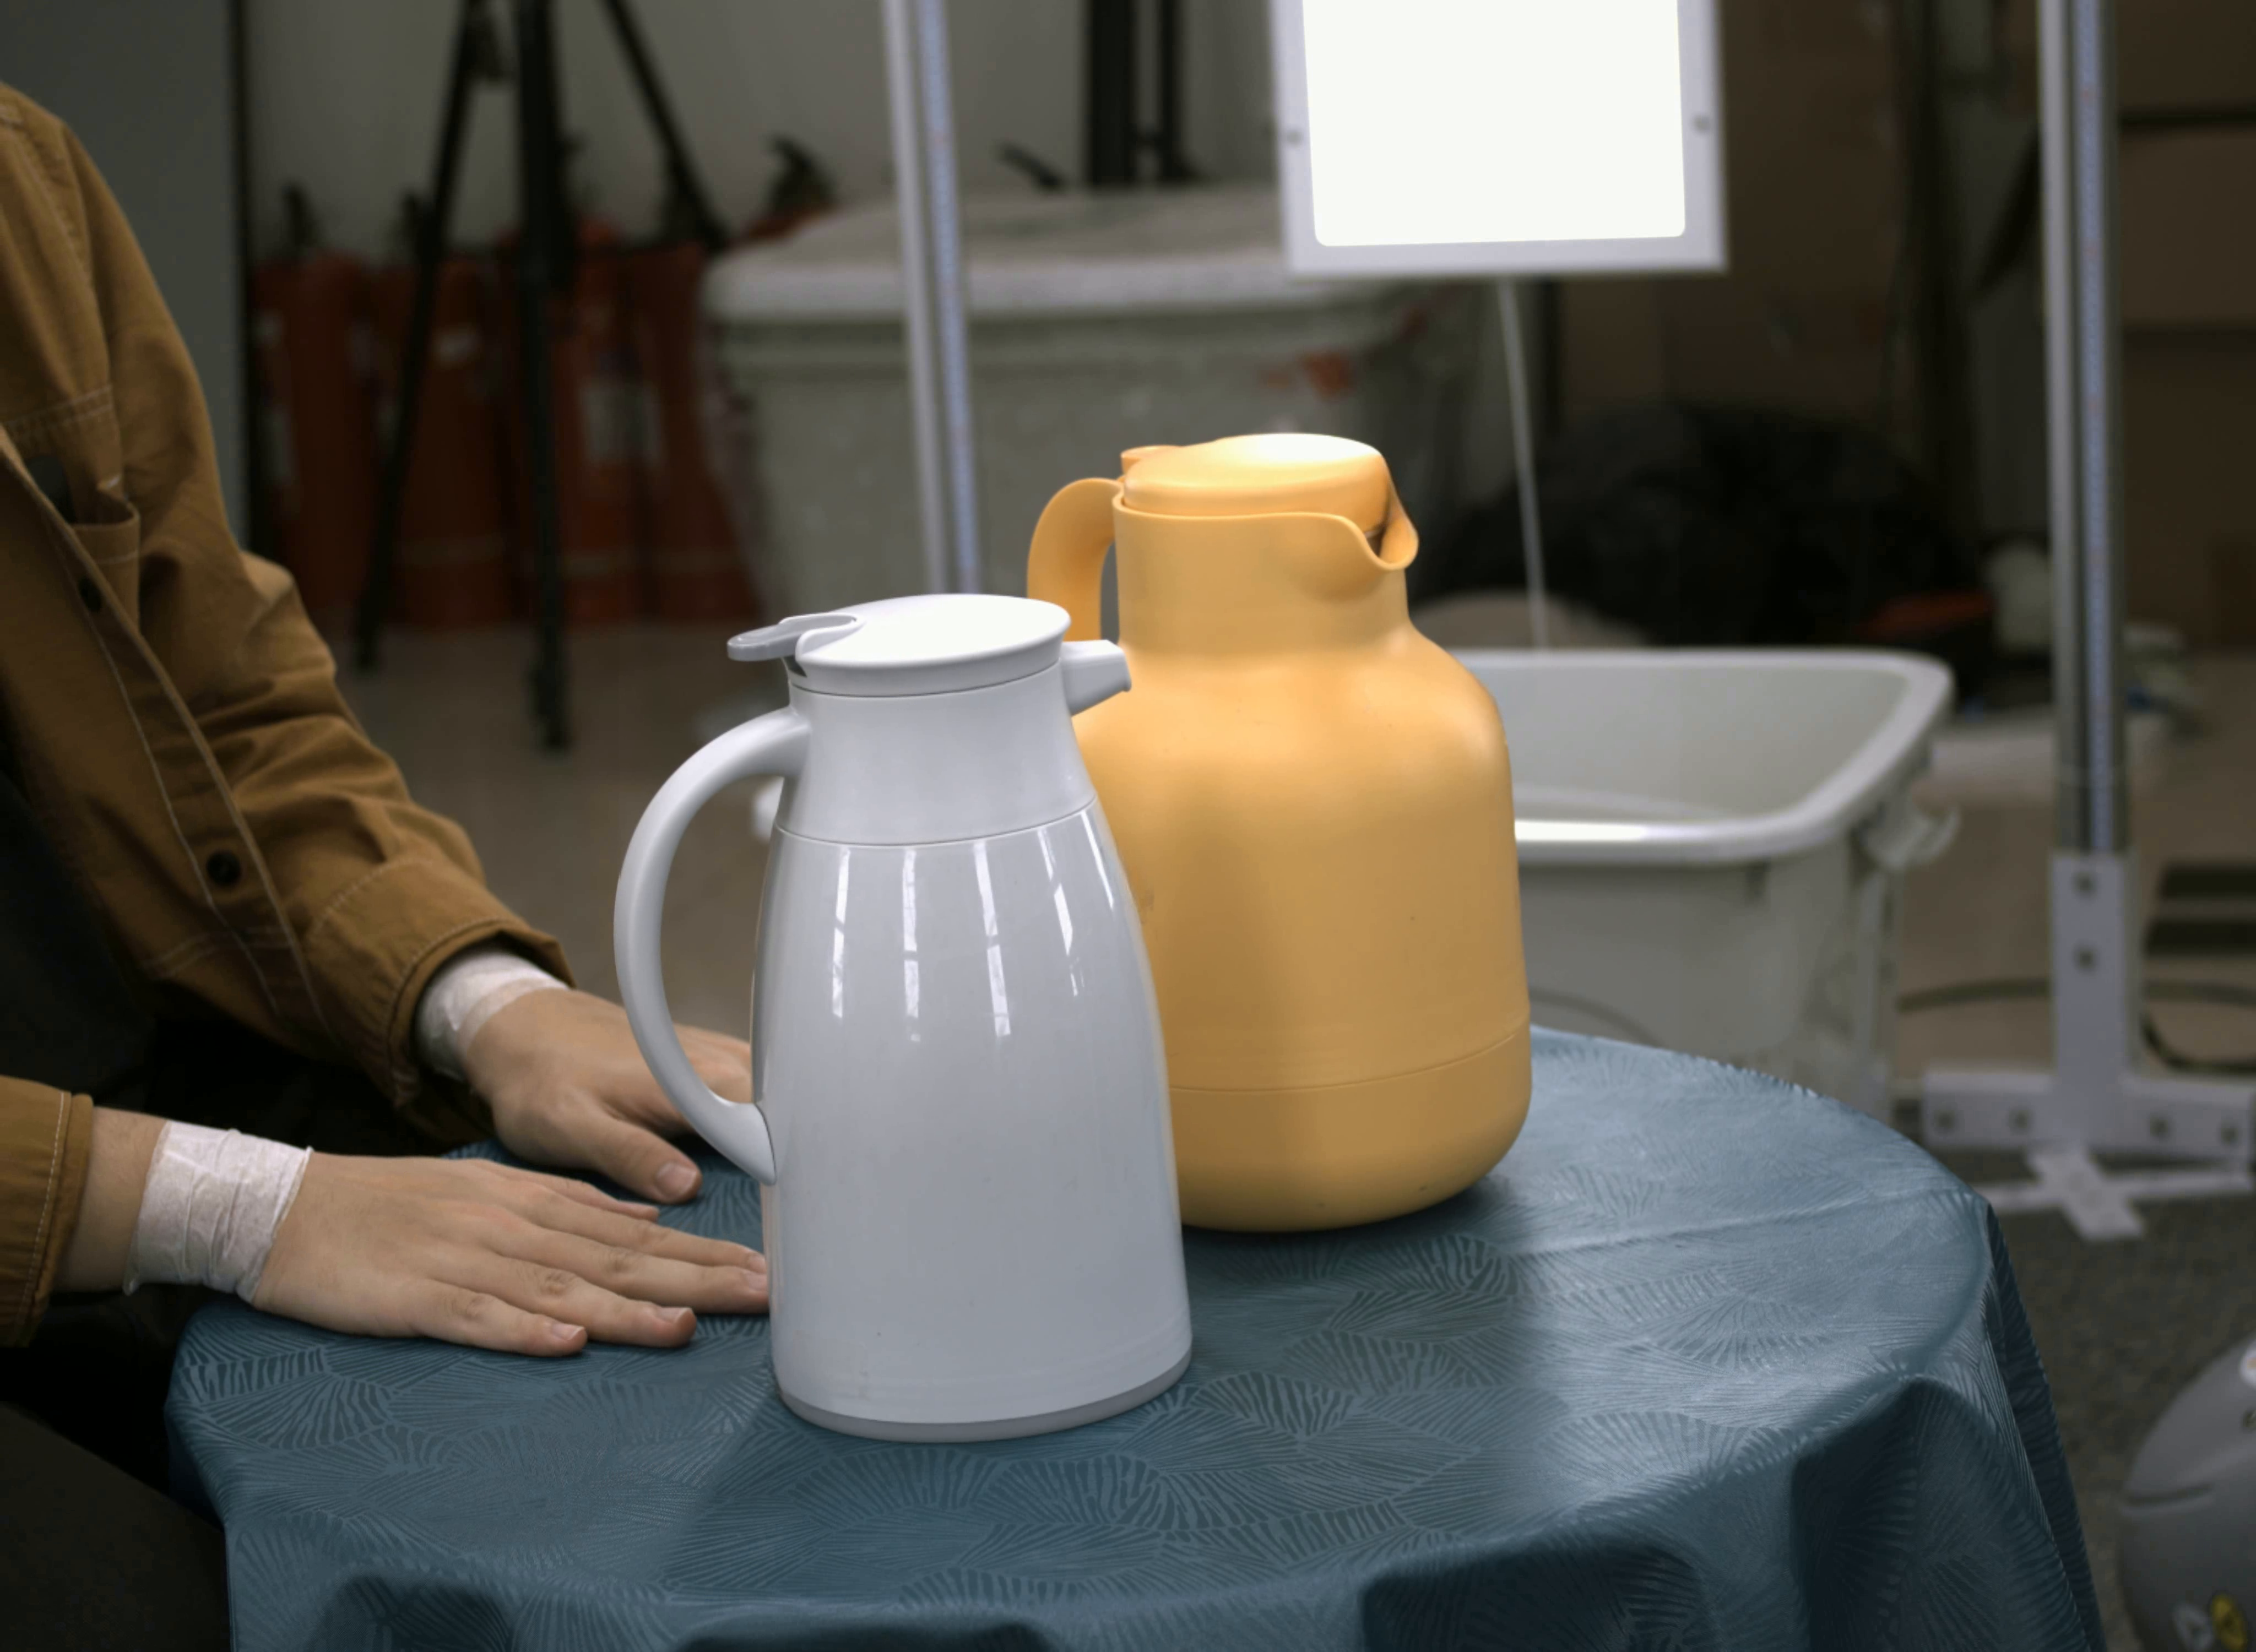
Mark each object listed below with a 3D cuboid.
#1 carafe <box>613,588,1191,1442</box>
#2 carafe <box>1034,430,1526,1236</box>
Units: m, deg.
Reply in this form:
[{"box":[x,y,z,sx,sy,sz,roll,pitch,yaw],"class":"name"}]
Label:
[{"box":[-0.073,0.055,1.697,0.165,0.249,0.134,-9,14,-14],"class":"carafe"},{"box":[0.040,-0.005,1.876,0.159,0.261,0.206,-12,17,-32],"class":"carafe"}]
